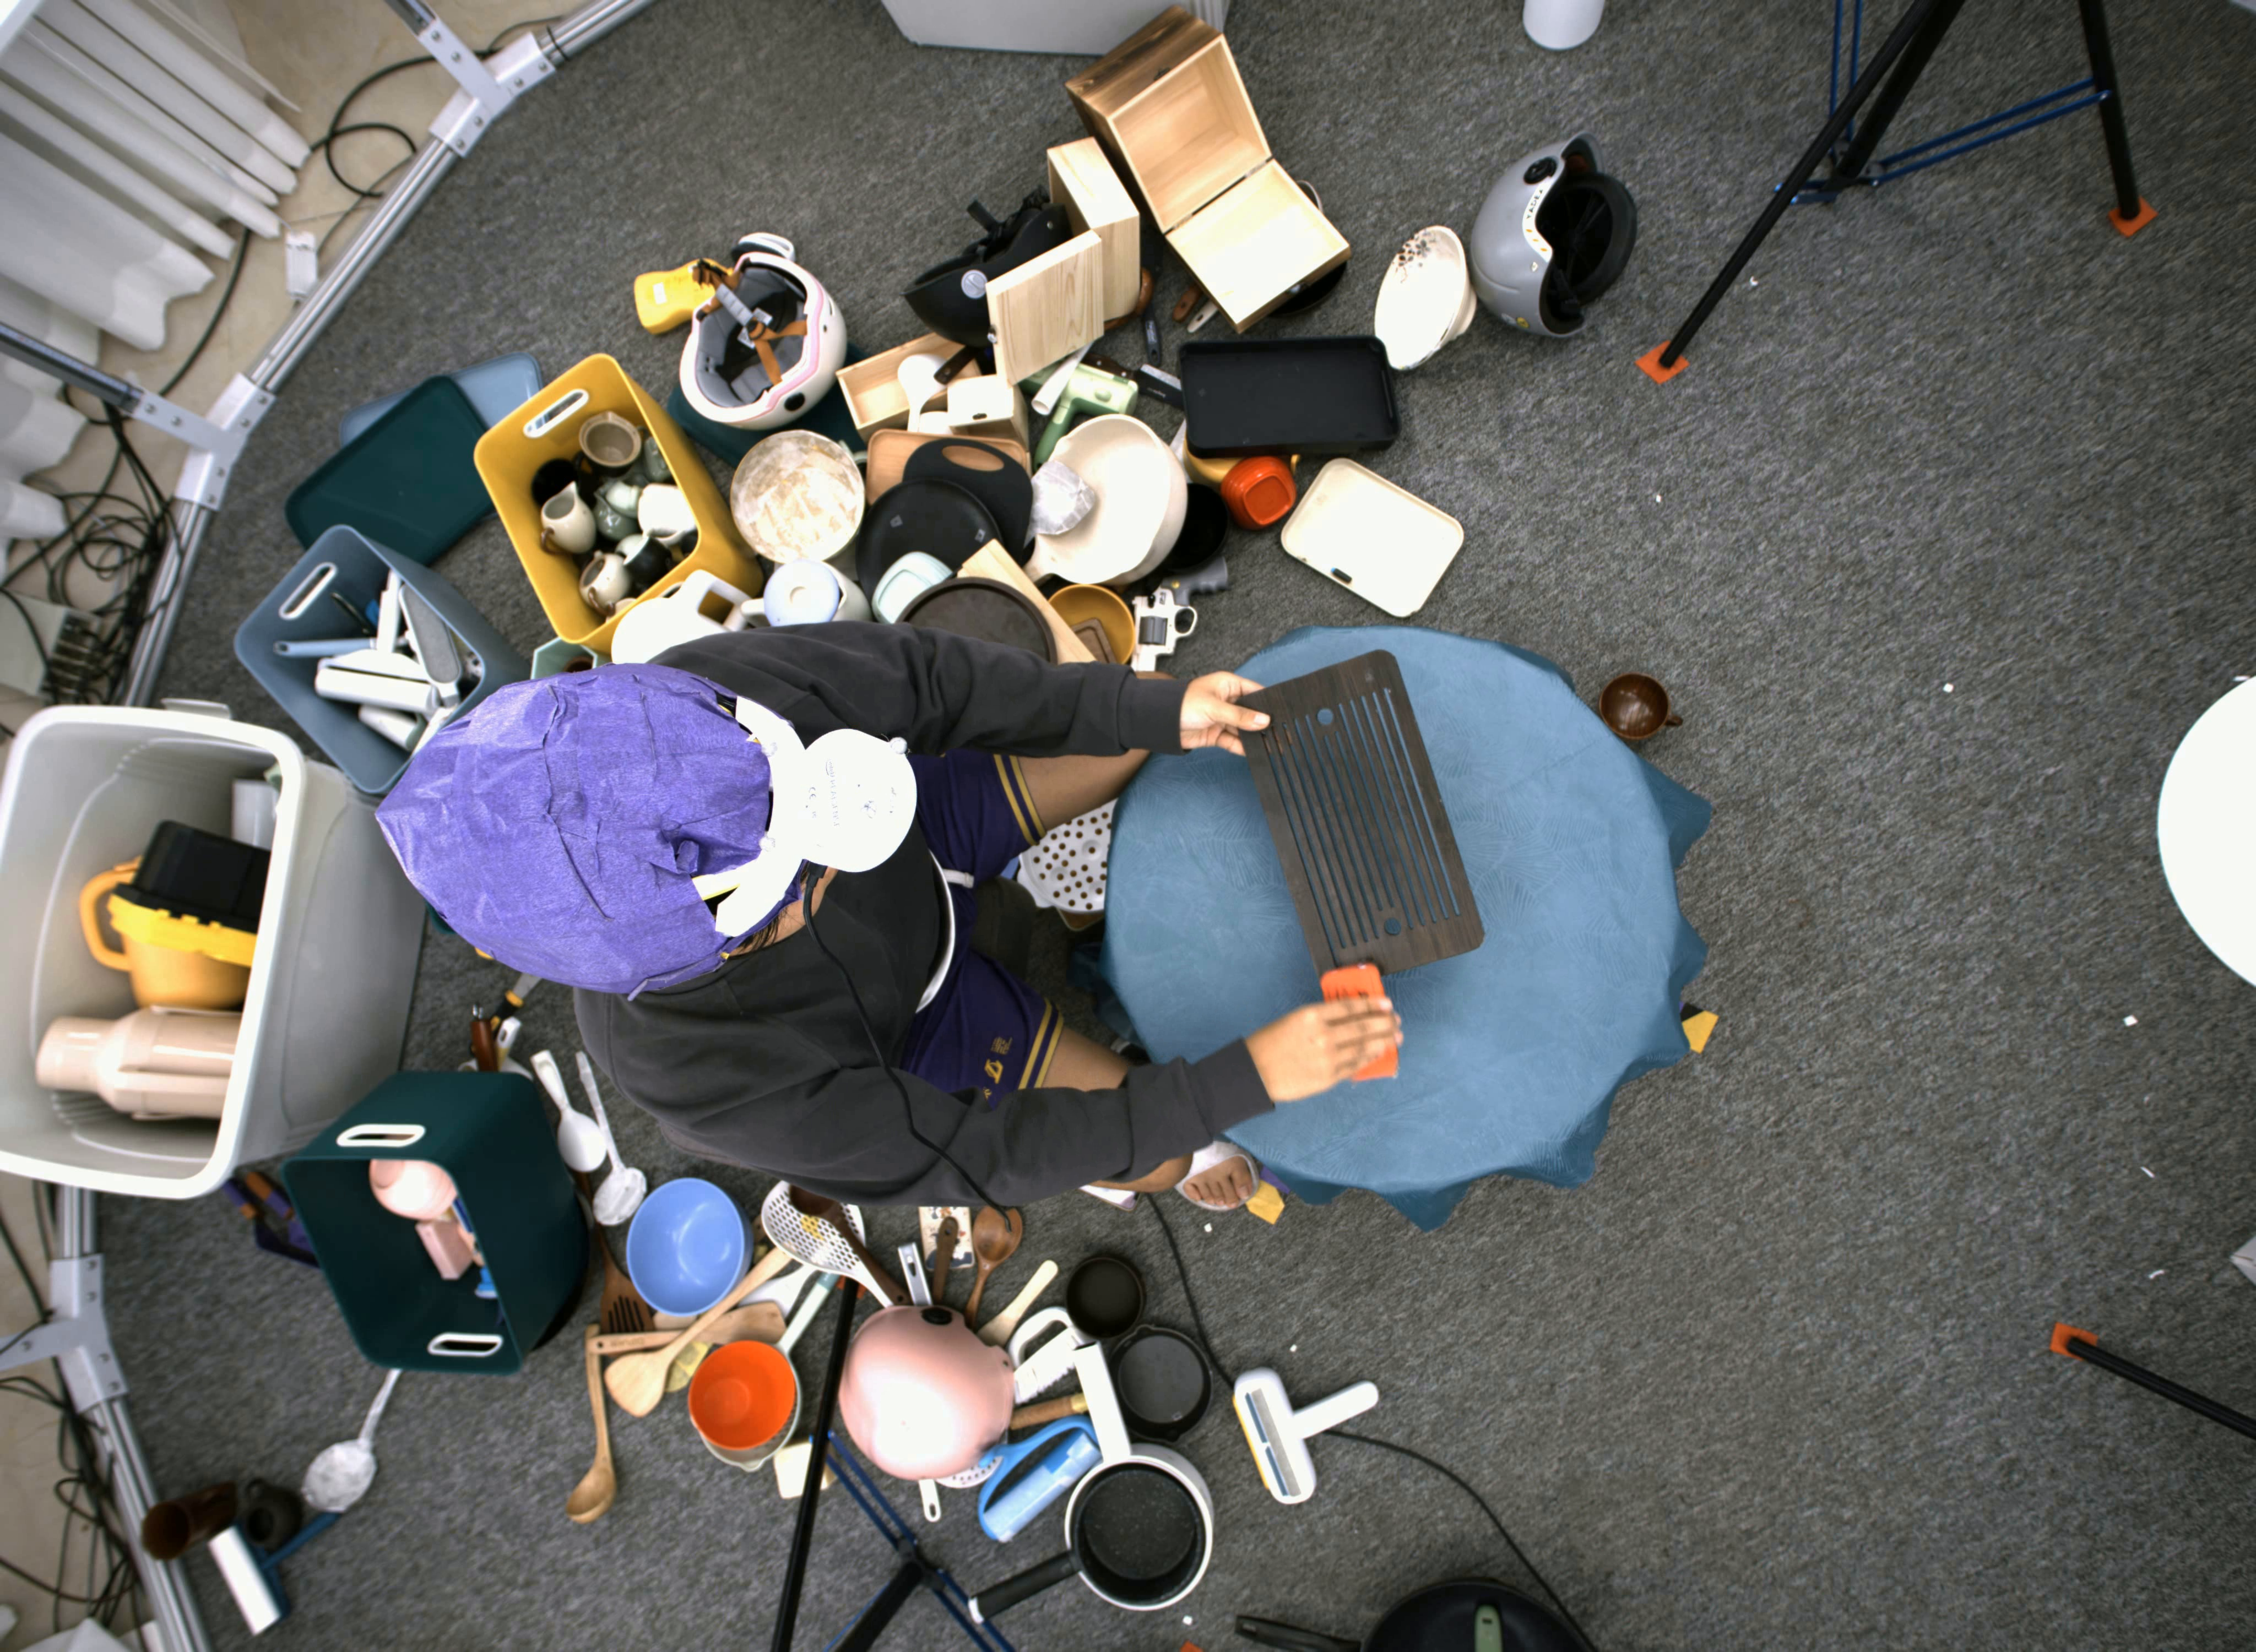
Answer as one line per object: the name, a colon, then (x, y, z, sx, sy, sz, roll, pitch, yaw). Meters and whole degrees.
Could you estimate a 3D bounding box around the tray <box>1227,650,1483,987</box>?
tray: (0.220, -0.005, 1.348, 0.172, 0.018, 0.306, -18, 92, 19)

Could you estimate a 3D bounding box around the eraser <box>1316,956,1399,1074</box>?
eraser: (0.225, 0.184, 1.351, 0.059, 0.022, 0.108, -14, 97, 19)
